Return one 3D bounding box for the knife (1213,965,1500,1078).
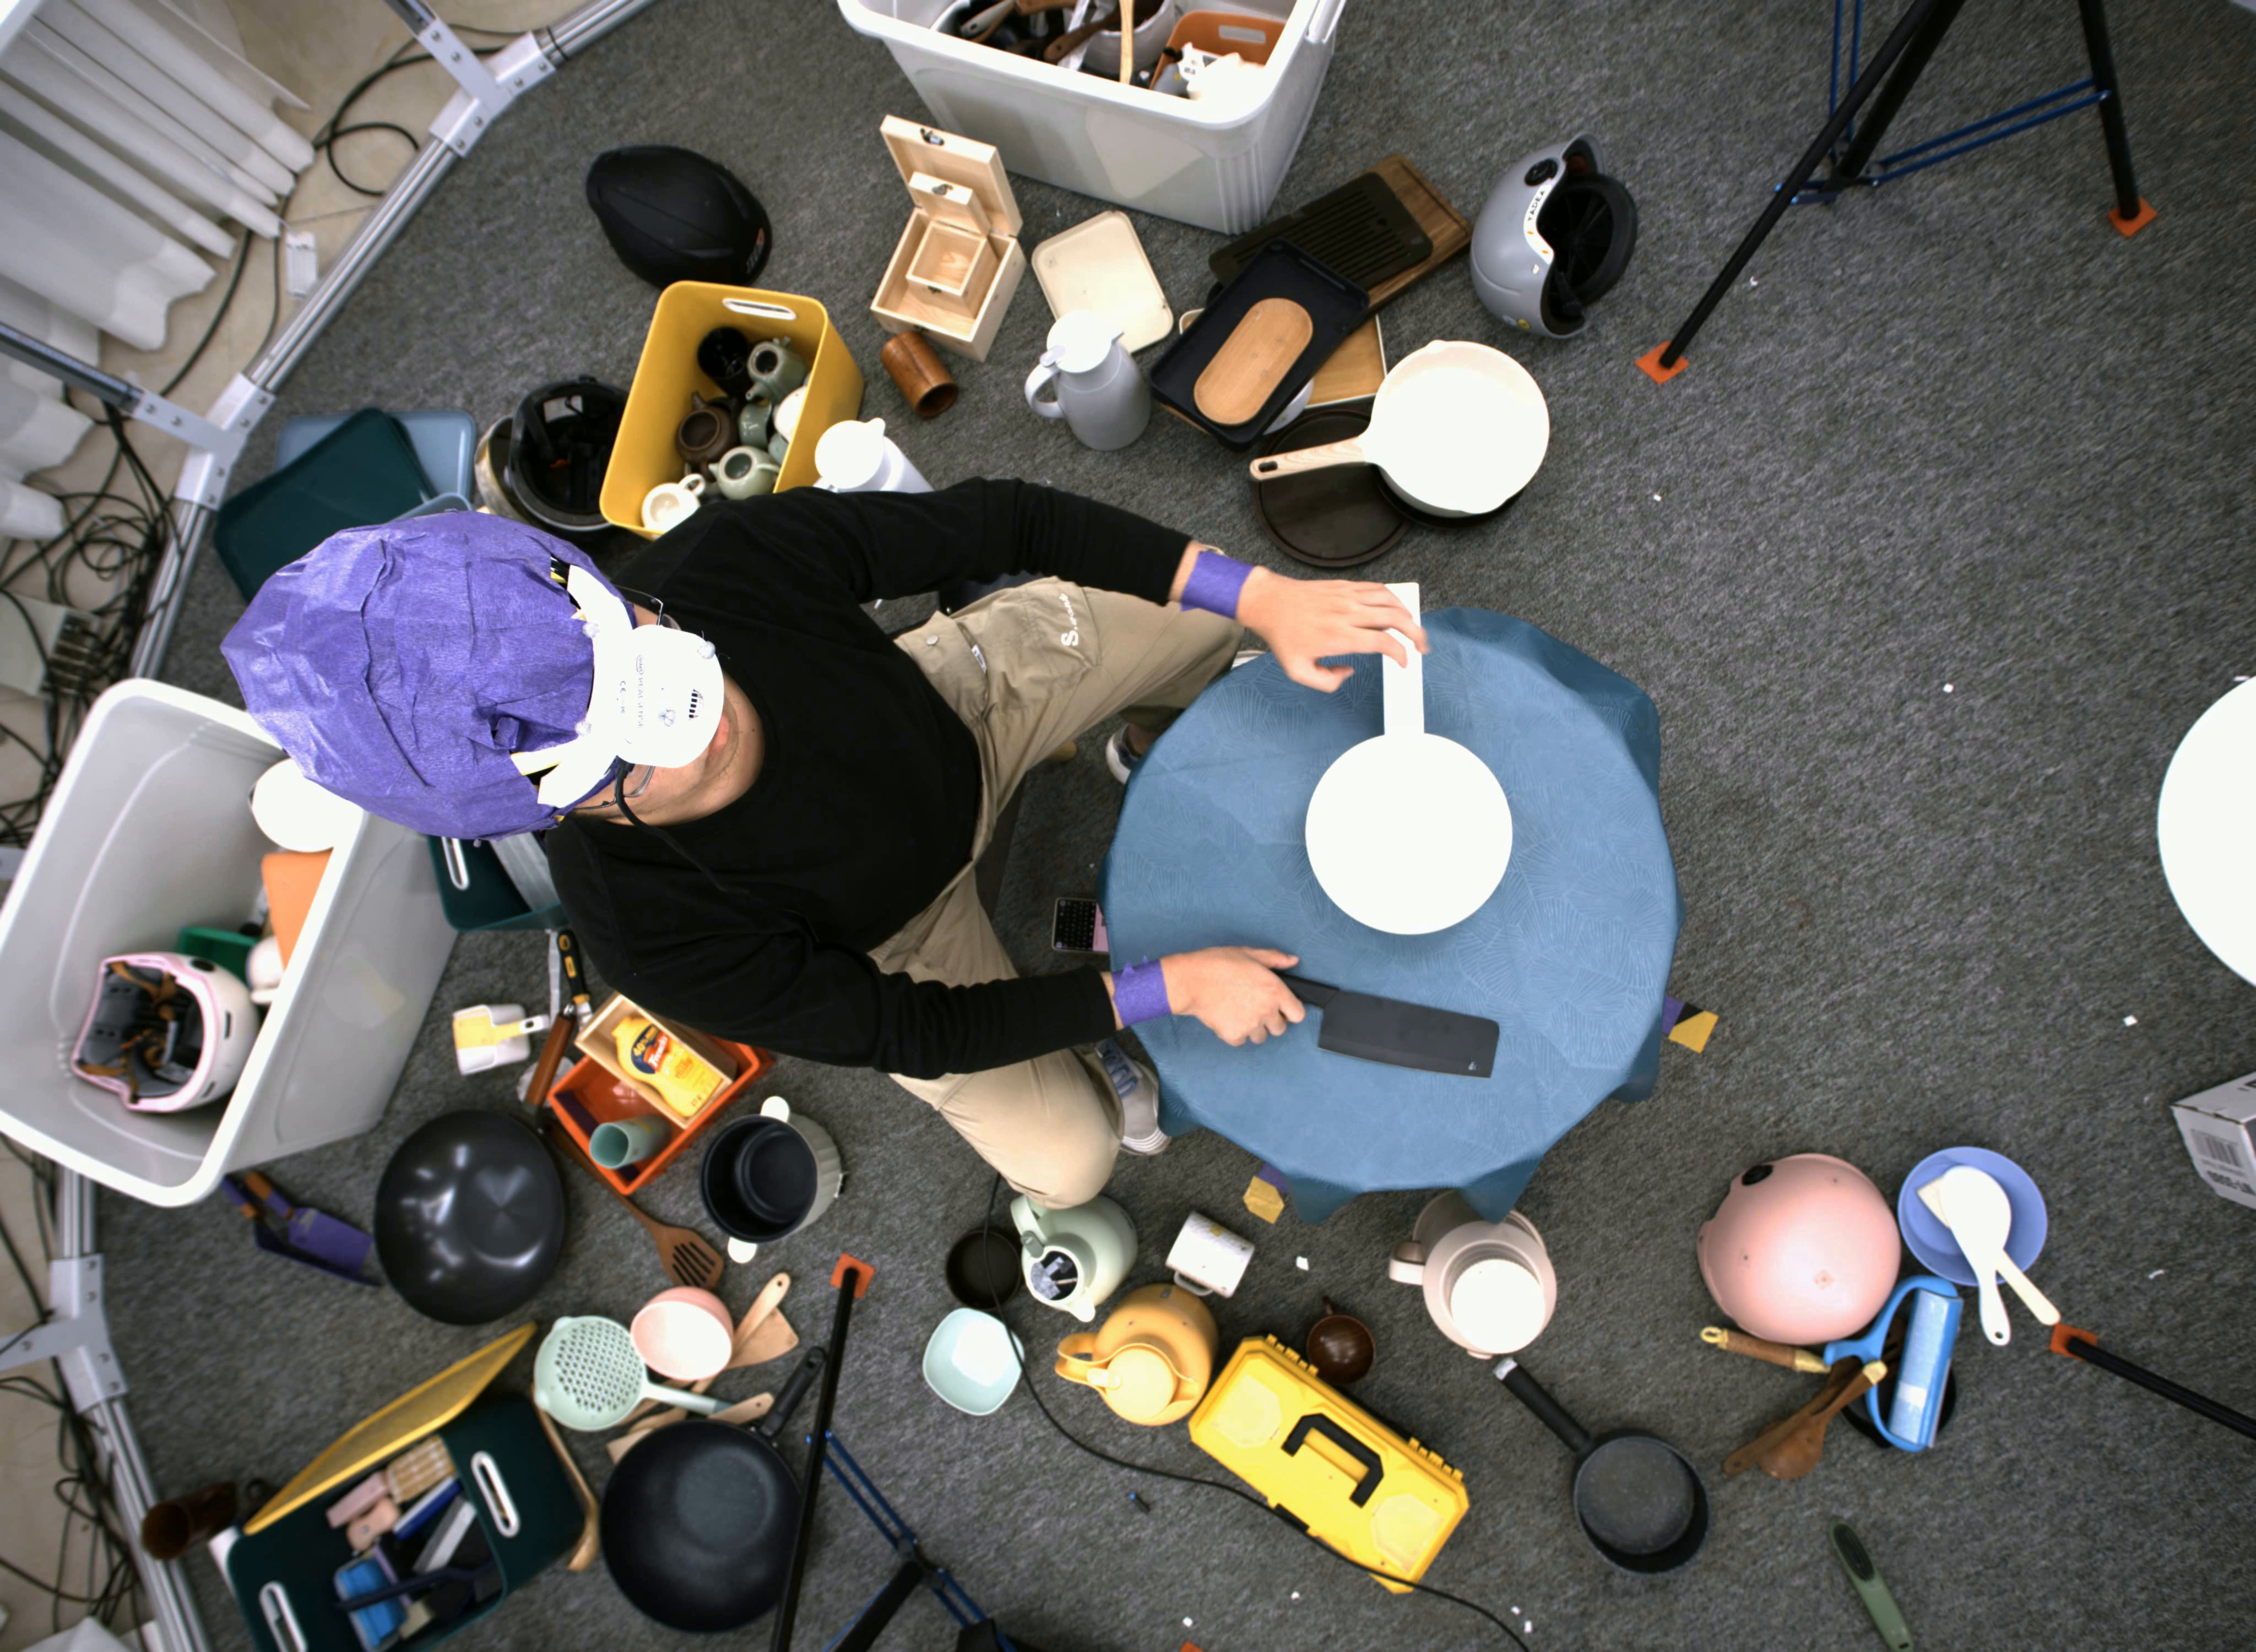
[{"bbox_3d":[0.237,0.200,1.455,0.302,0.021,0.081,15,91,9],"label":"knife"}]

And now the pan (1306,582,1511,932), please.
[{"bbox_3d":[0.286,-0.068,1.417,0.202,0.102,0.353,-1,86,11],"label":"pan"}]
